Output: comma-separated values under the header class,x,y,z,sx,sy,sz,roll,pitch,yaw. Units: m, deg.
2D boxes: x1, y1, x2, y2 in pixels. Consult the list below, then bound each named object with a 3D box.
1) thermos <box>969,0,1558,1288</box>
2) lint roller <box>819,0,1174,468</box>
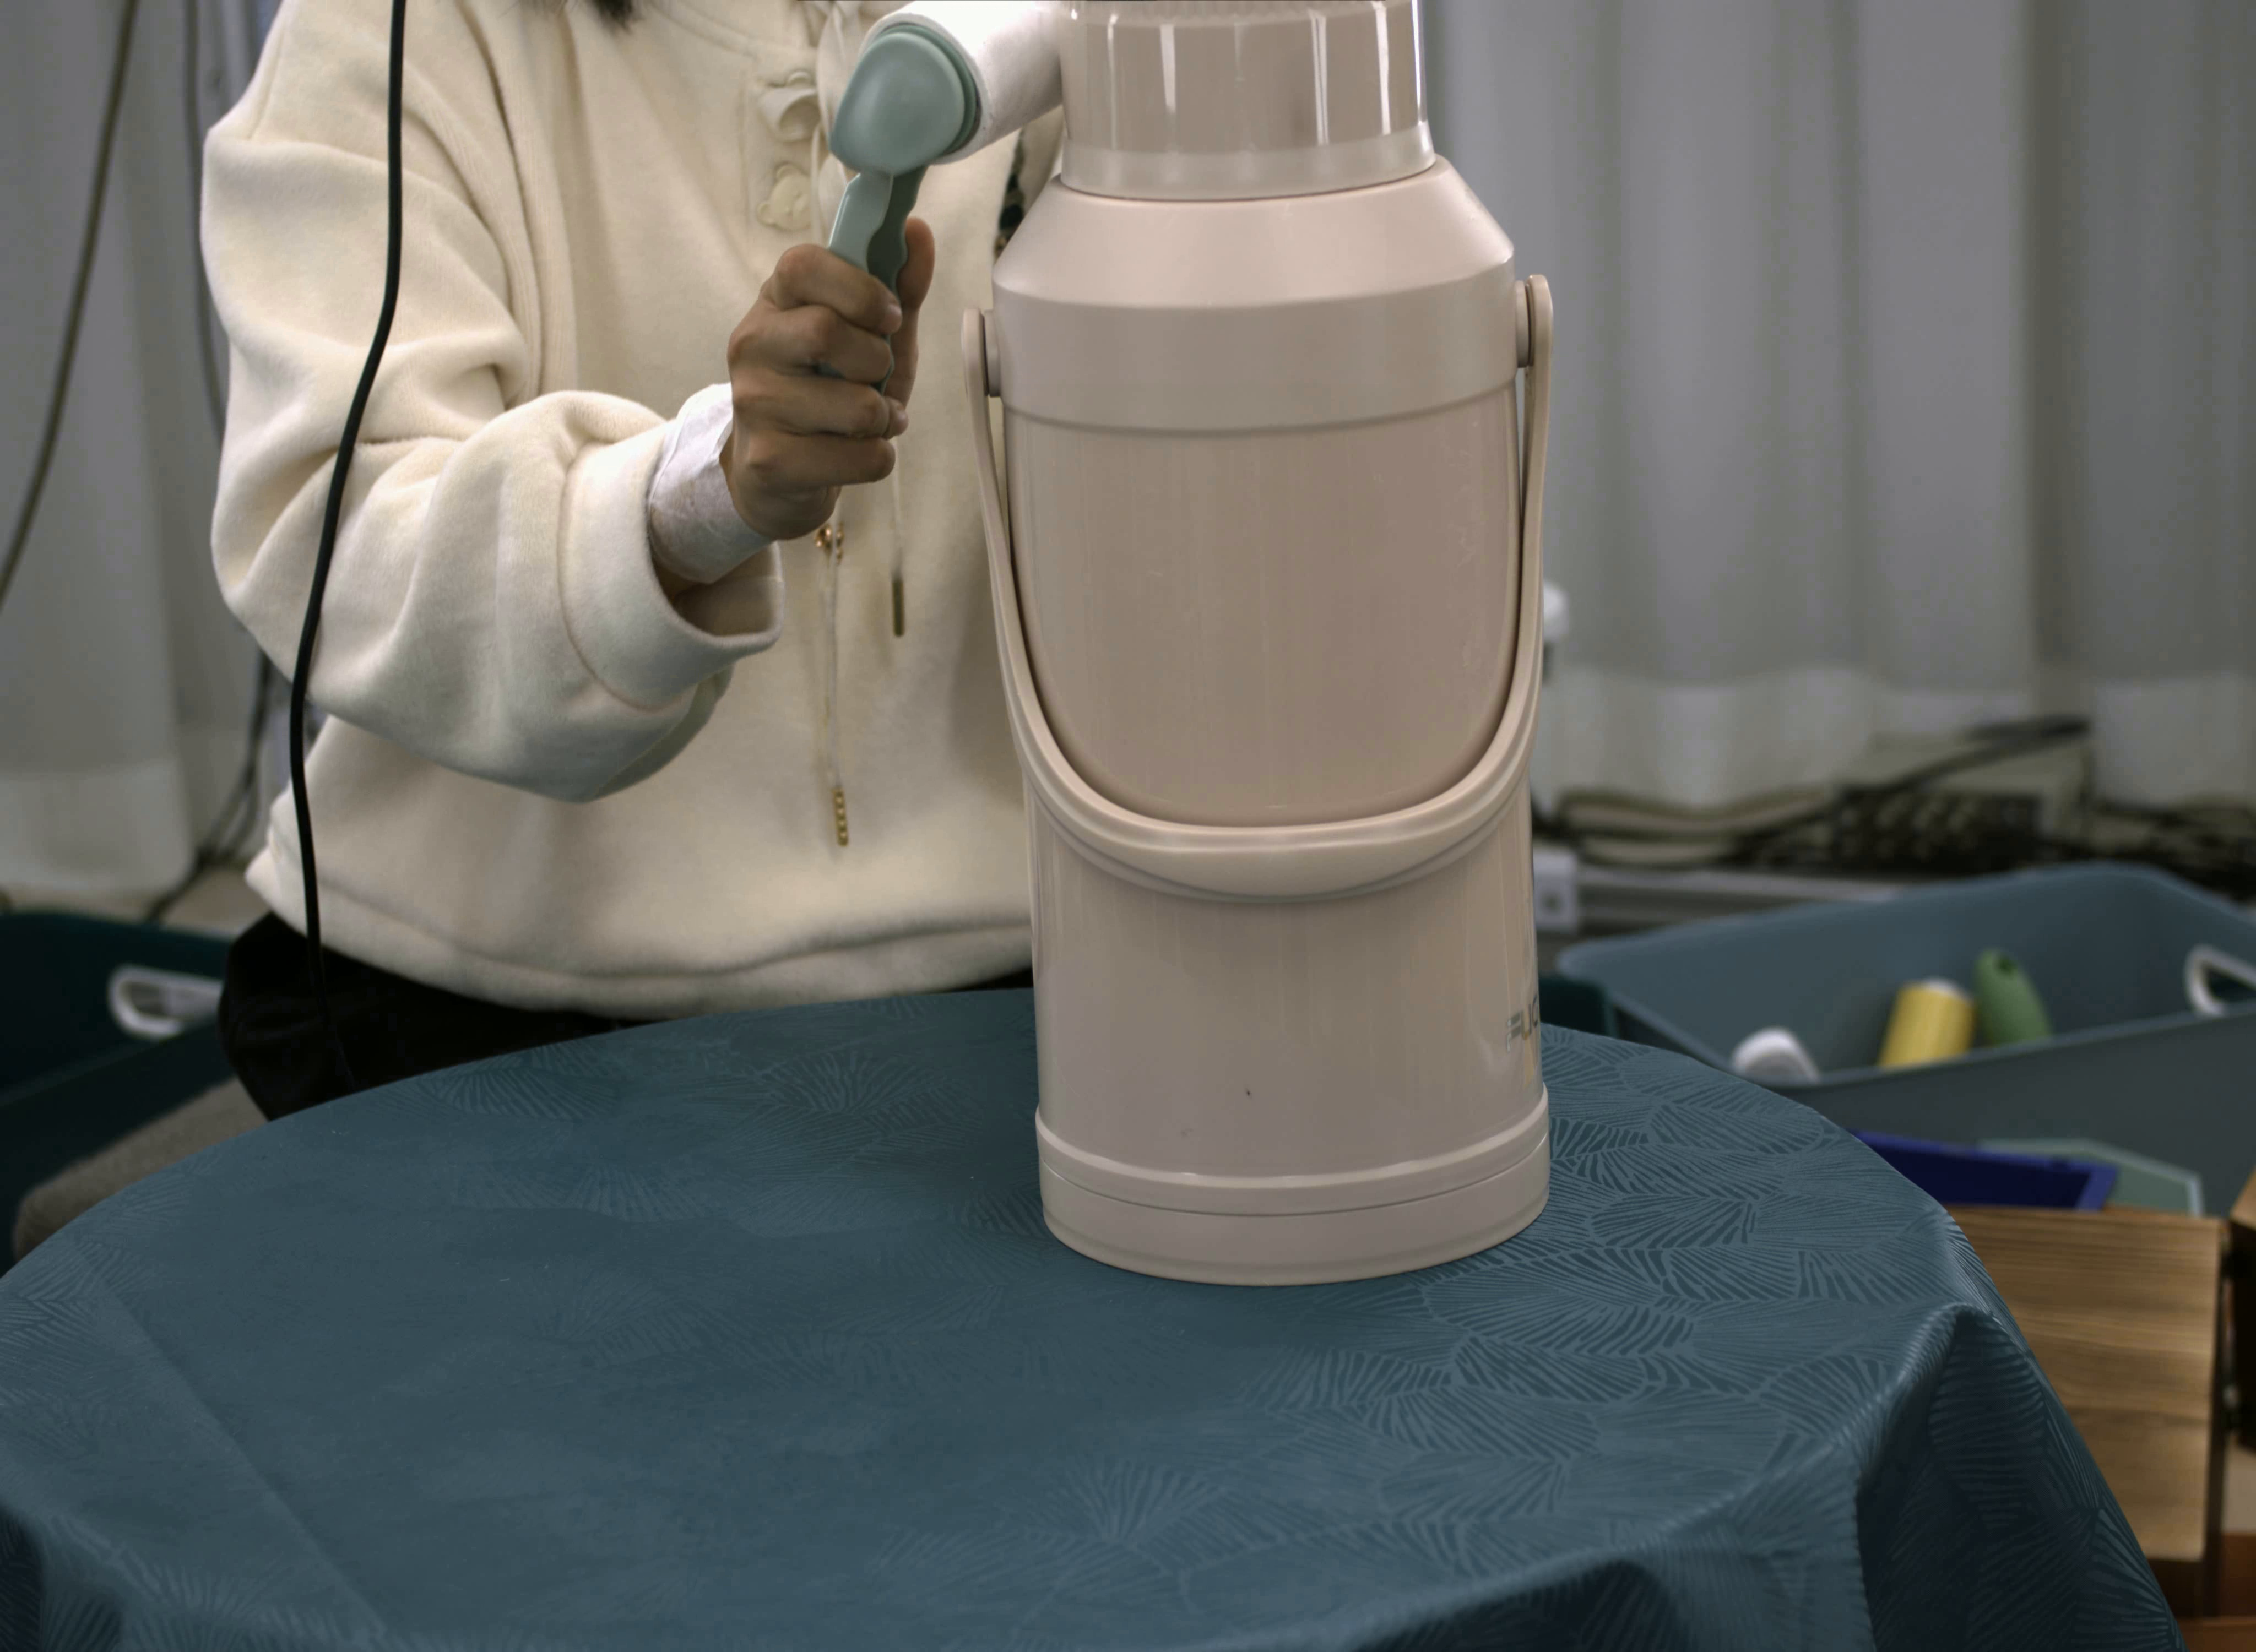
class,x,y,z,sx,sy,sz,roll,pitch,yaw
thermos,0.044,-0.078,1.665,0.175,0.405,0.208,-4,13,0
lint roller,-0.060,-0.194,1.708,0.048,0.196,0.117,40,40,9
